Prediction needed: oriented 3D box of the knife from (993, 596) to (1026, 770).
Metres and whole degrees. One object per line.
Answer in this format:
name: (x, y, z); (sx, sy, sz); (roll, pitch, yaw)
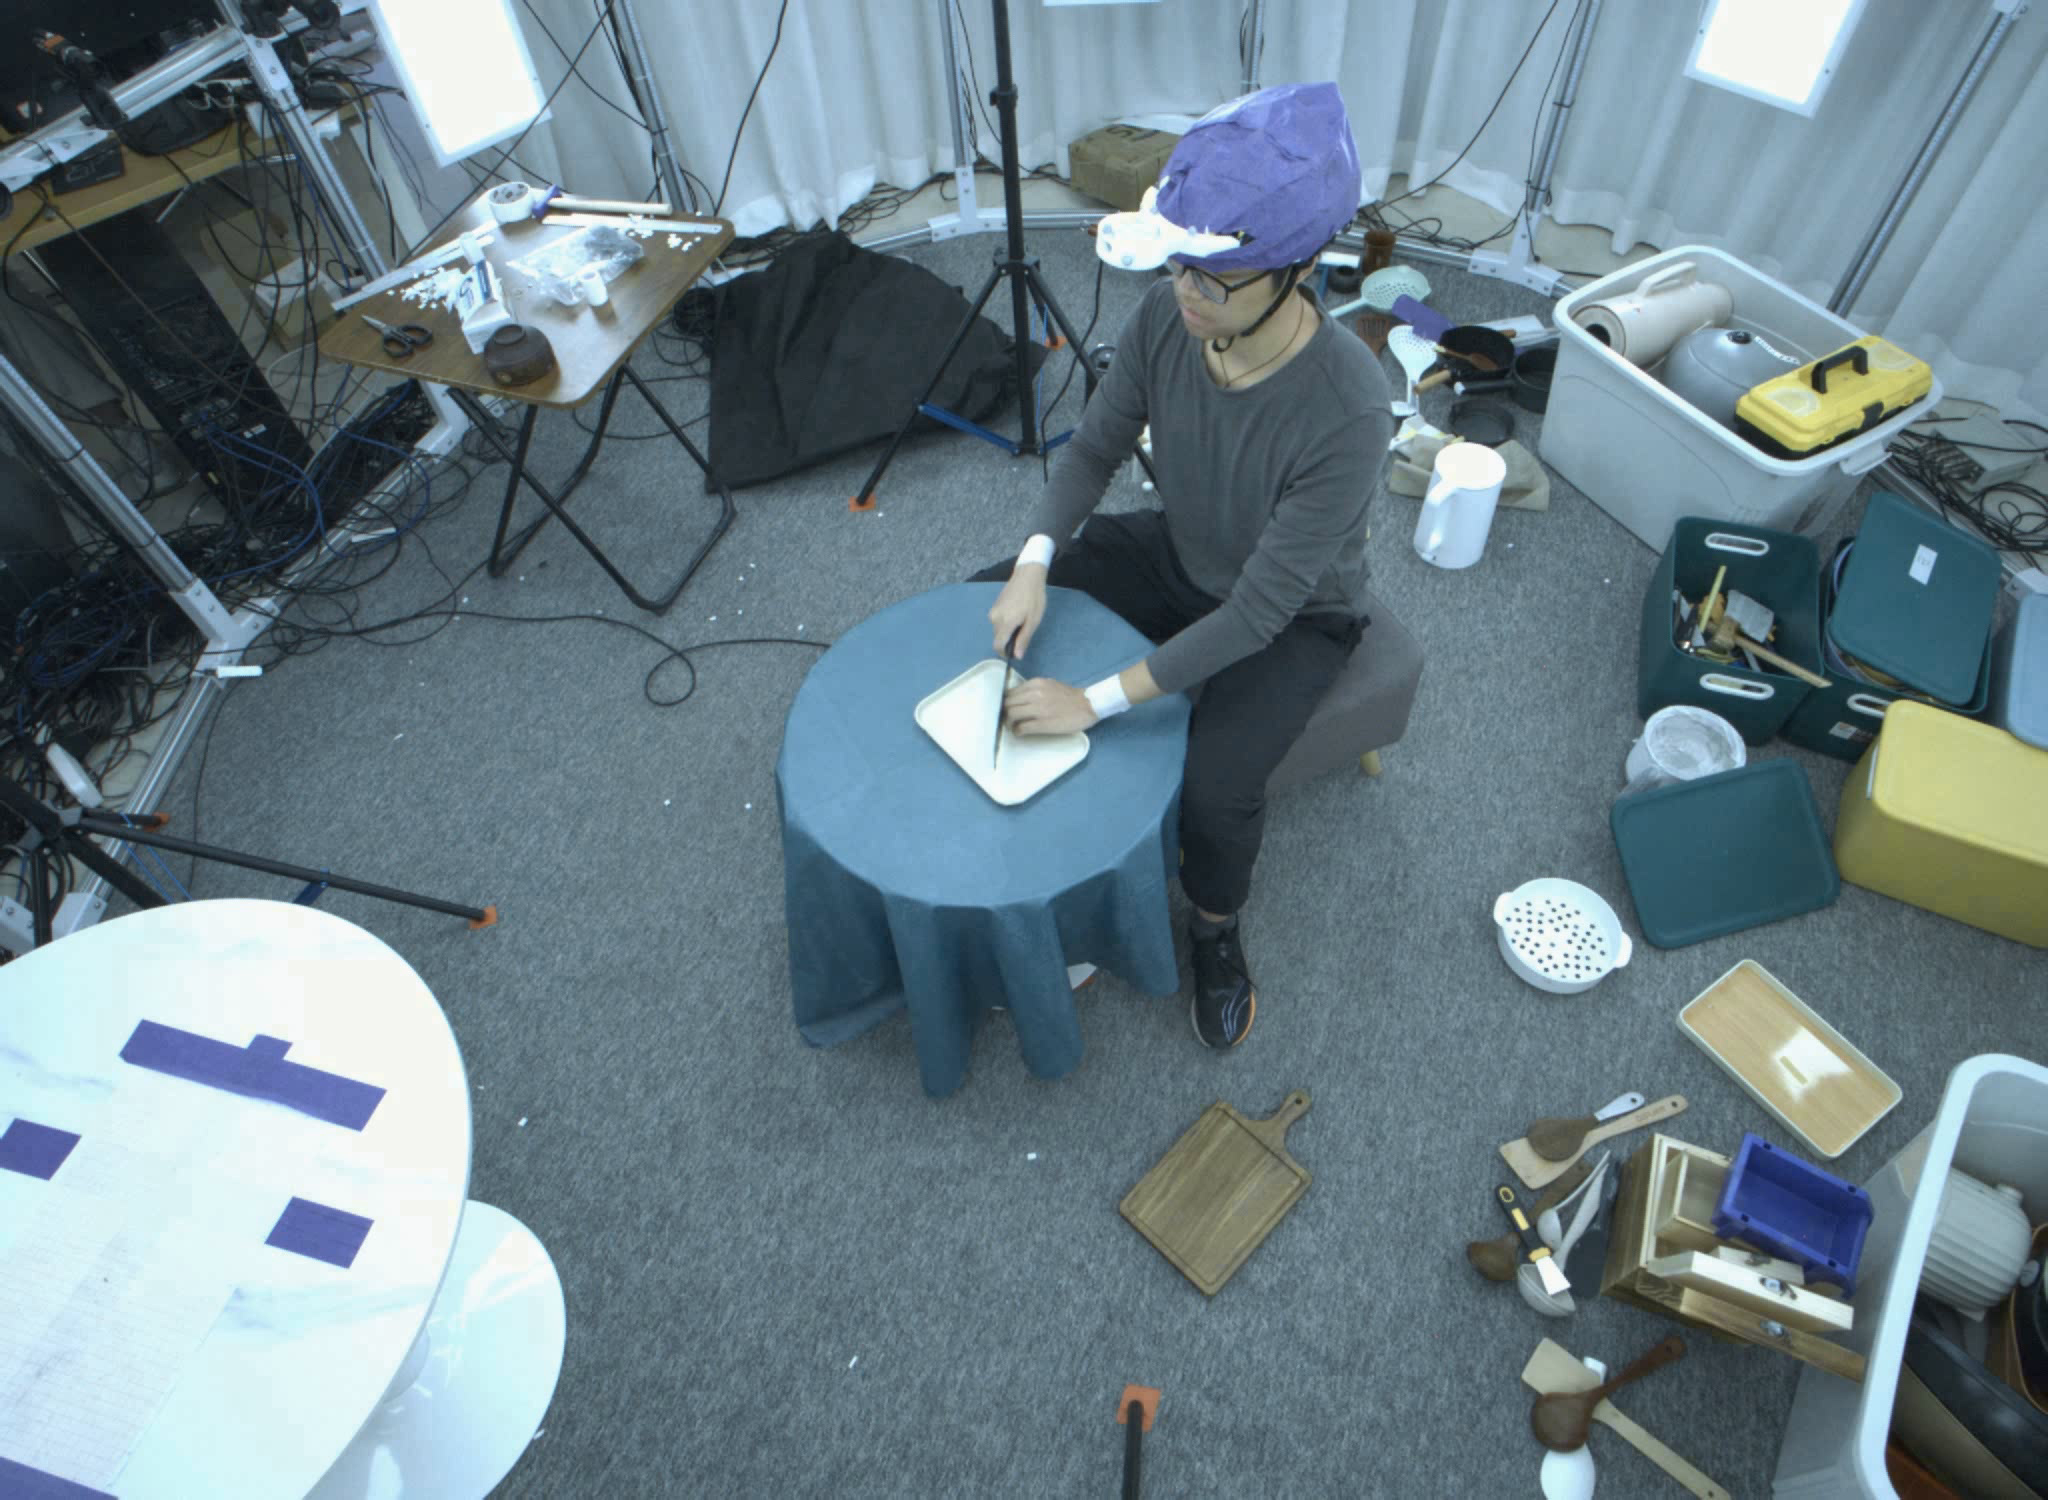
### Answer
knife: (-0.024, -0.108, 1.812); (0.021, 0.081, 0.300); (6, 58, 4)

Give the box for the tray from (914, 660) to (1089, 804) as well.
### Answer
tray: (-0.034, -0.028, 1.805); (0.172, 0.017, 0.235); (-35, 61, -22)
